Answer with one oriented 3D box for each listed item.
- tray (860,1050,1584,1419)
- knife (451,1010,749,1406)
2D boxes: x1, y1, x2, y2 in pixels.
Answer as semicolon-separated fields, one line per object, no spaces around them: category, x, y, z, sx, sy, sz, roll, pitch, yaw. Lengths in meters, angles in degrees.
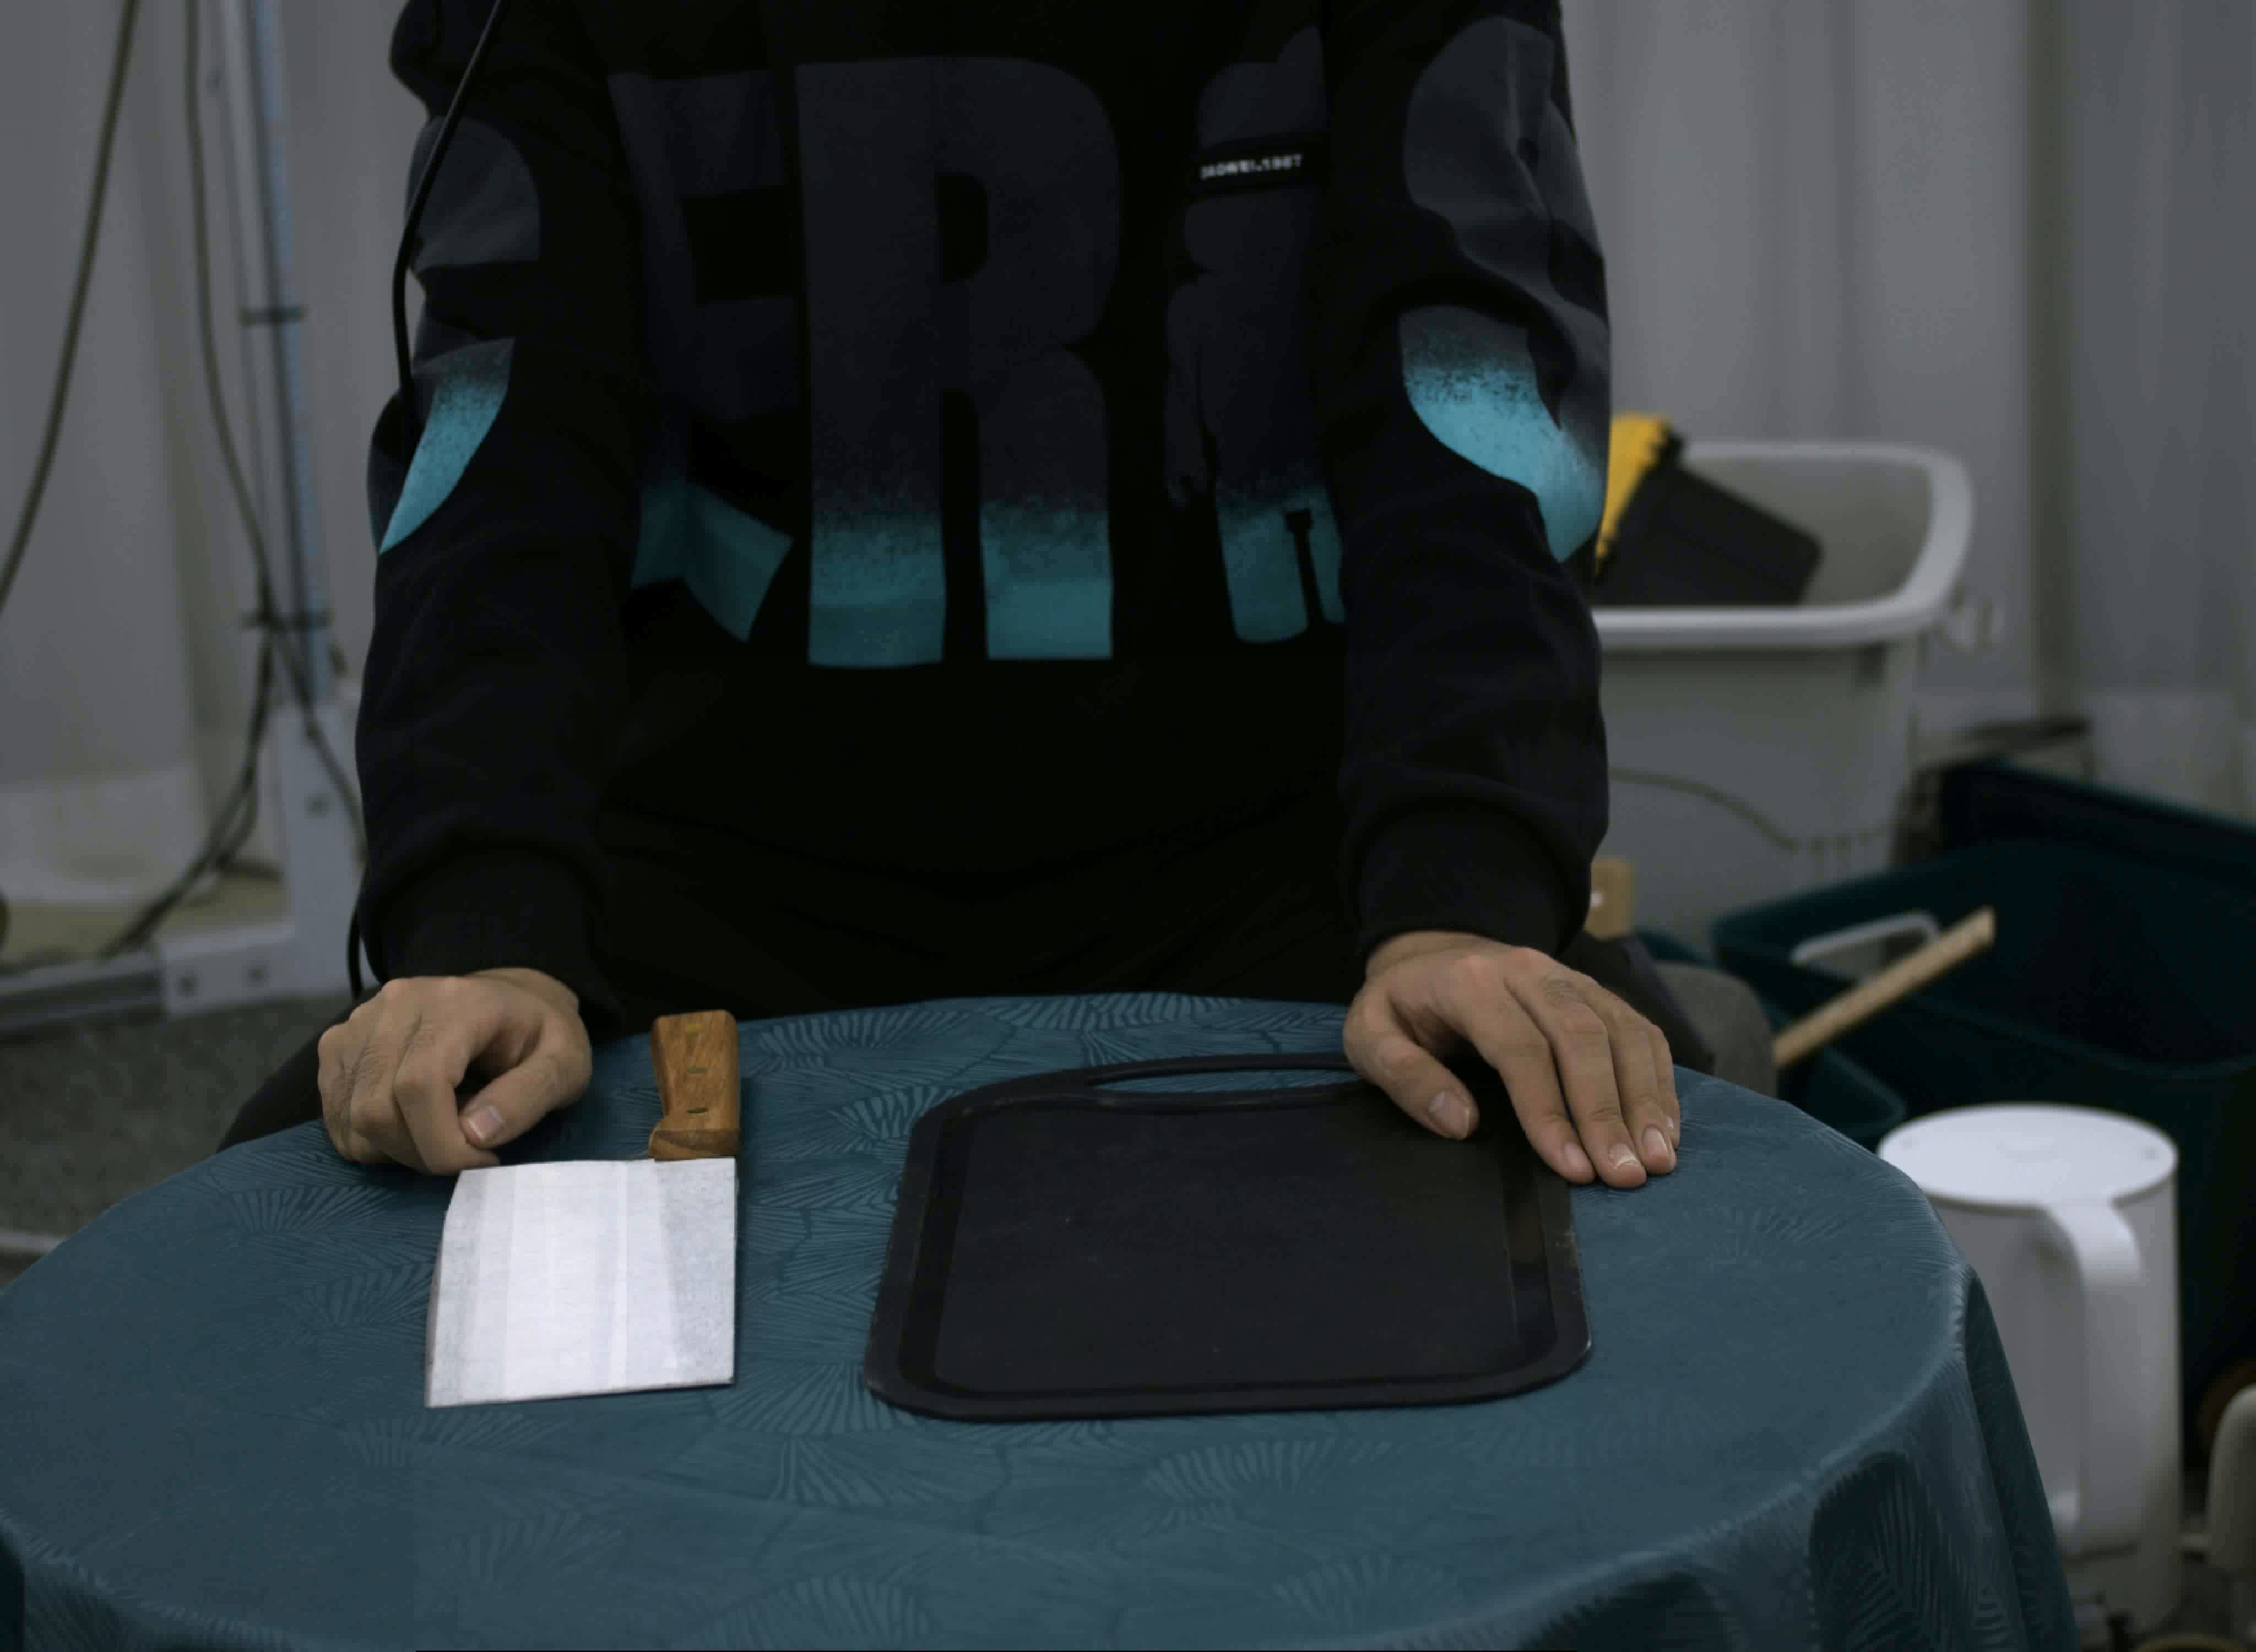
tray;0.031;0.119;1.680;0.210;0.010;0.327;-2;15;3
knife;-0.165;0.118;1.708;0.092;0.021;0.308;-5;17;-2
